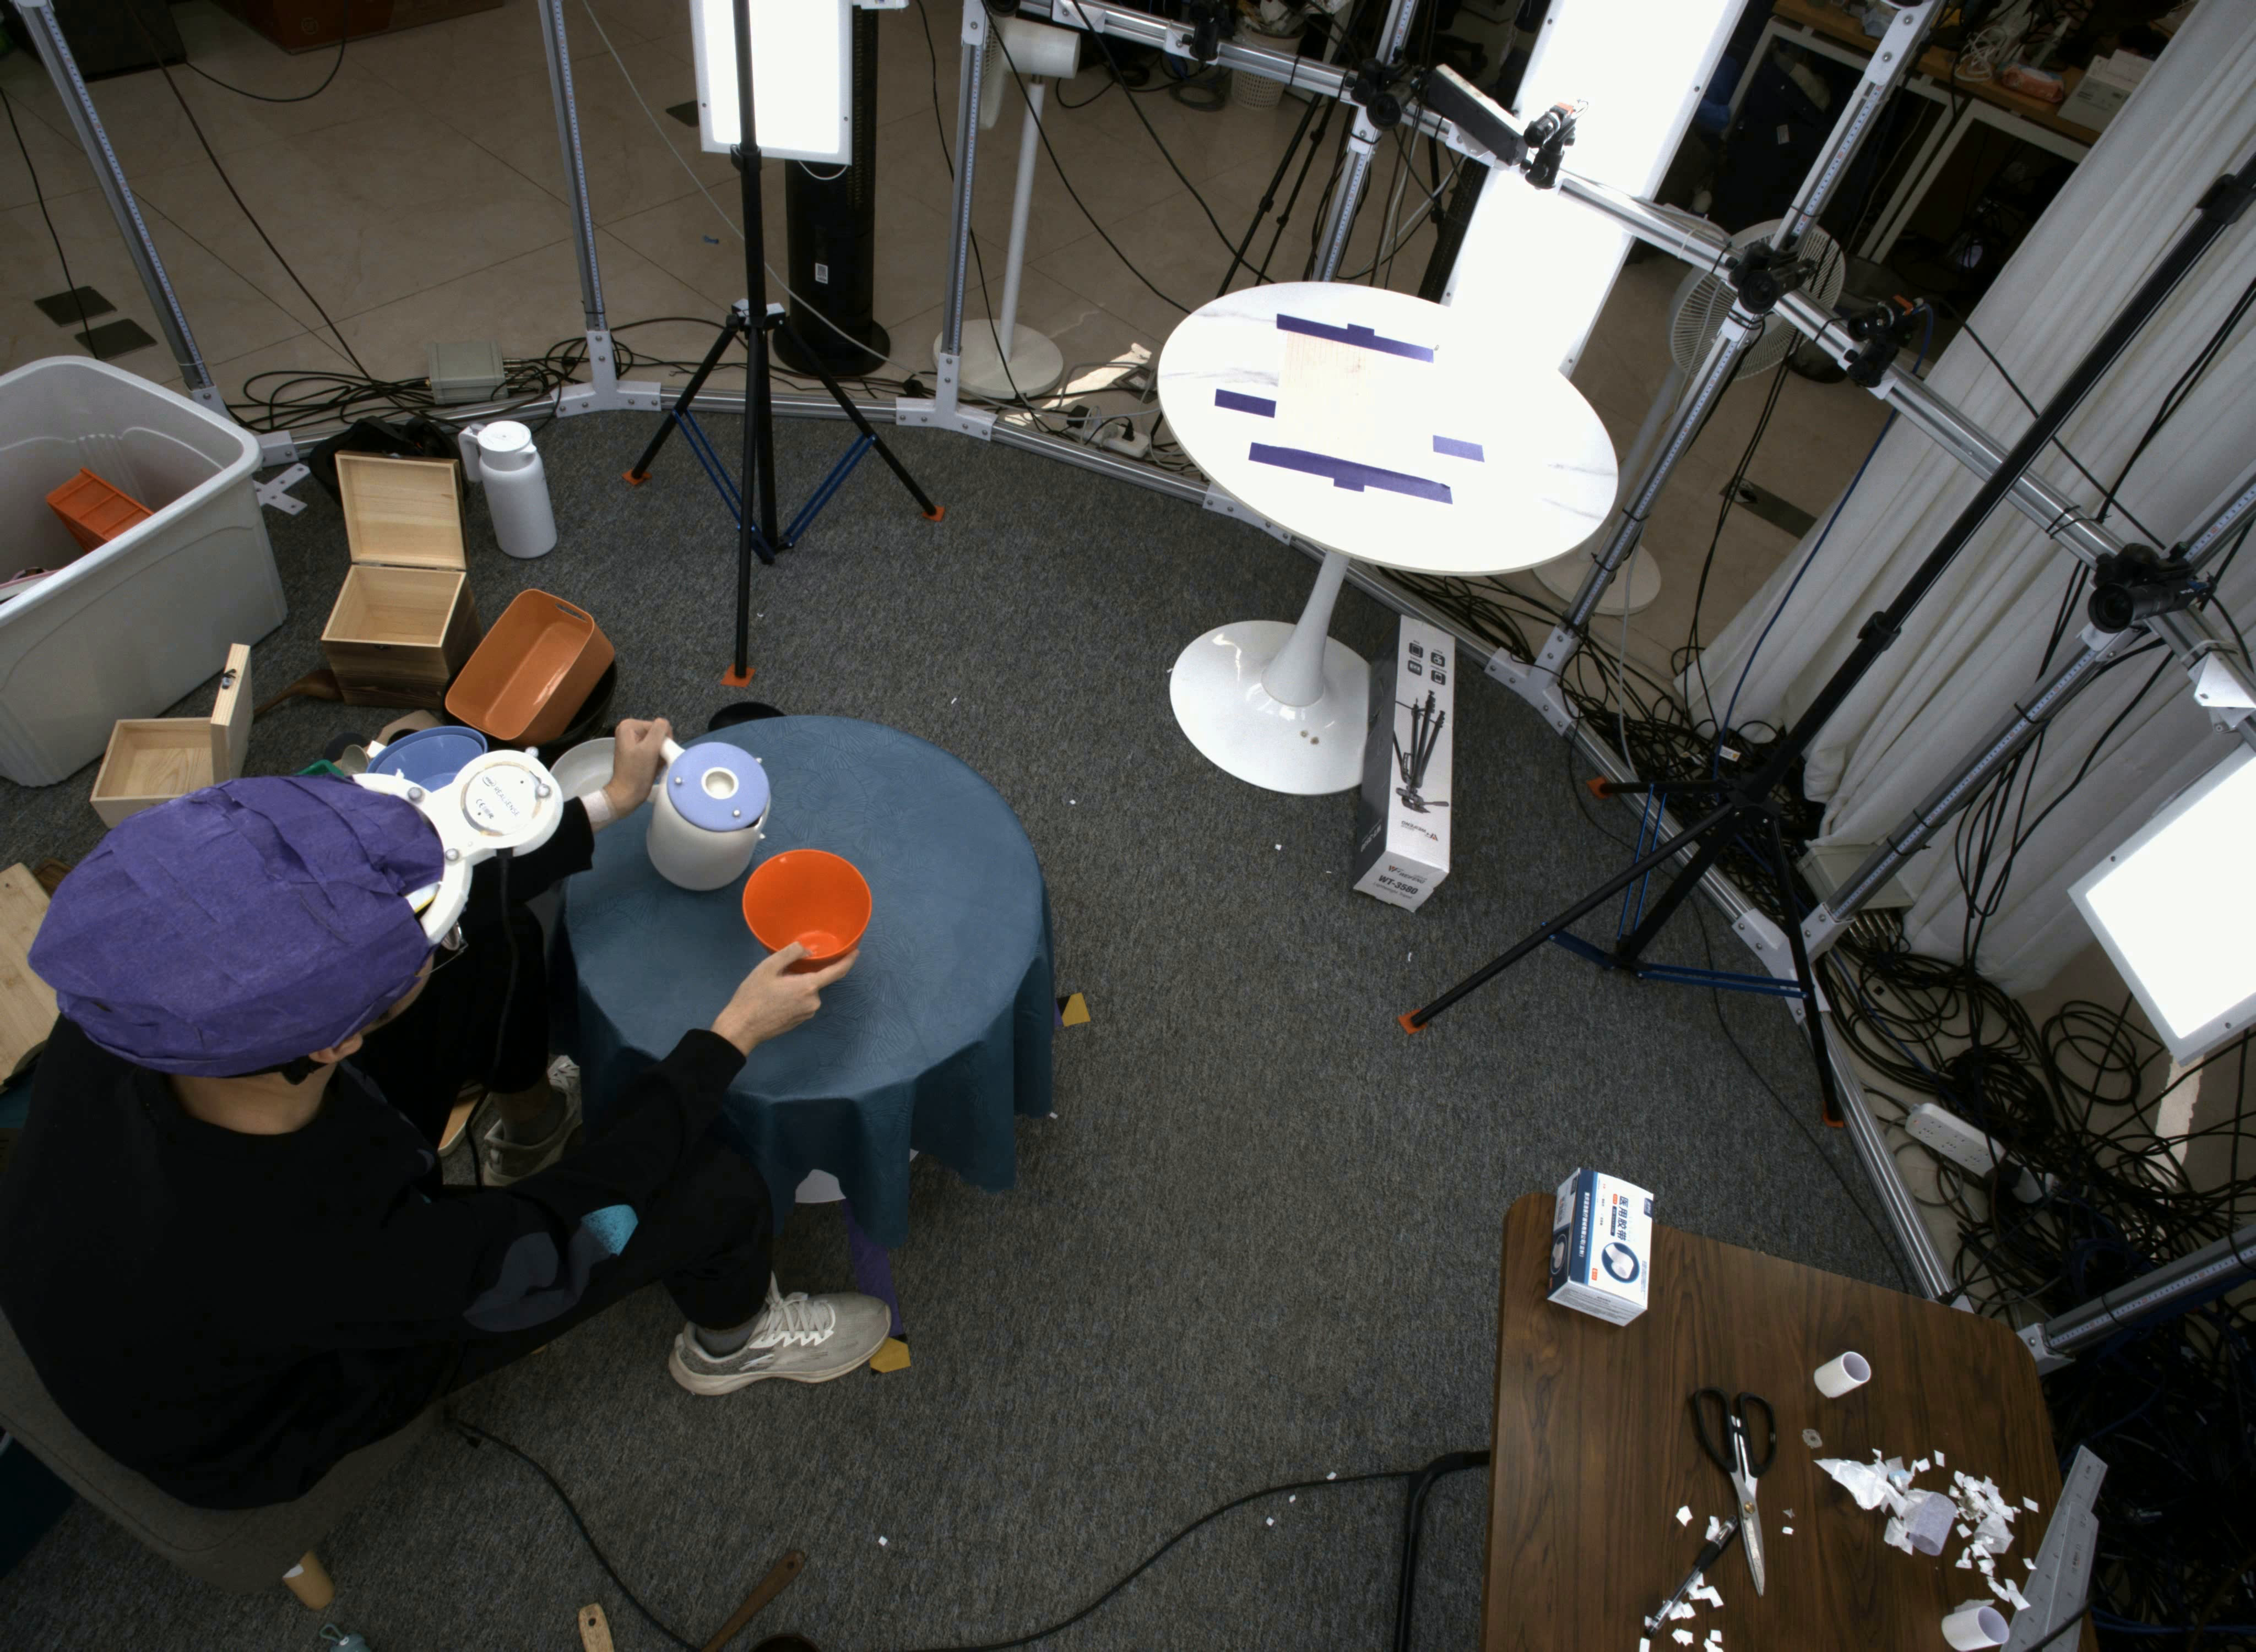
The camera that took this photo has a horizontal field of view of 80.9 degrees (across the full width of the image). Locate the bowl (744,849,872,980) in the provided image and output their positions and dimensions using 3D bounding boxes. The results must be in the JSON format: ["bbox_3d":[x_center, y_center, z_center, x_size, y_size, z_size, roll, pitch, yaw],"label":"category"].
[{"bbox_3d":[-0.377,0.115,1.544,0.147,0.107,0.145,6,47,-5],"label":"bowl"}]

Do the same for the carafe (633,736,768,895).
[{"bbox_3d":[-0.534,-0.027,1.579,0.191,0.183,0.132,40,52,1],"label":"carafe"}]
